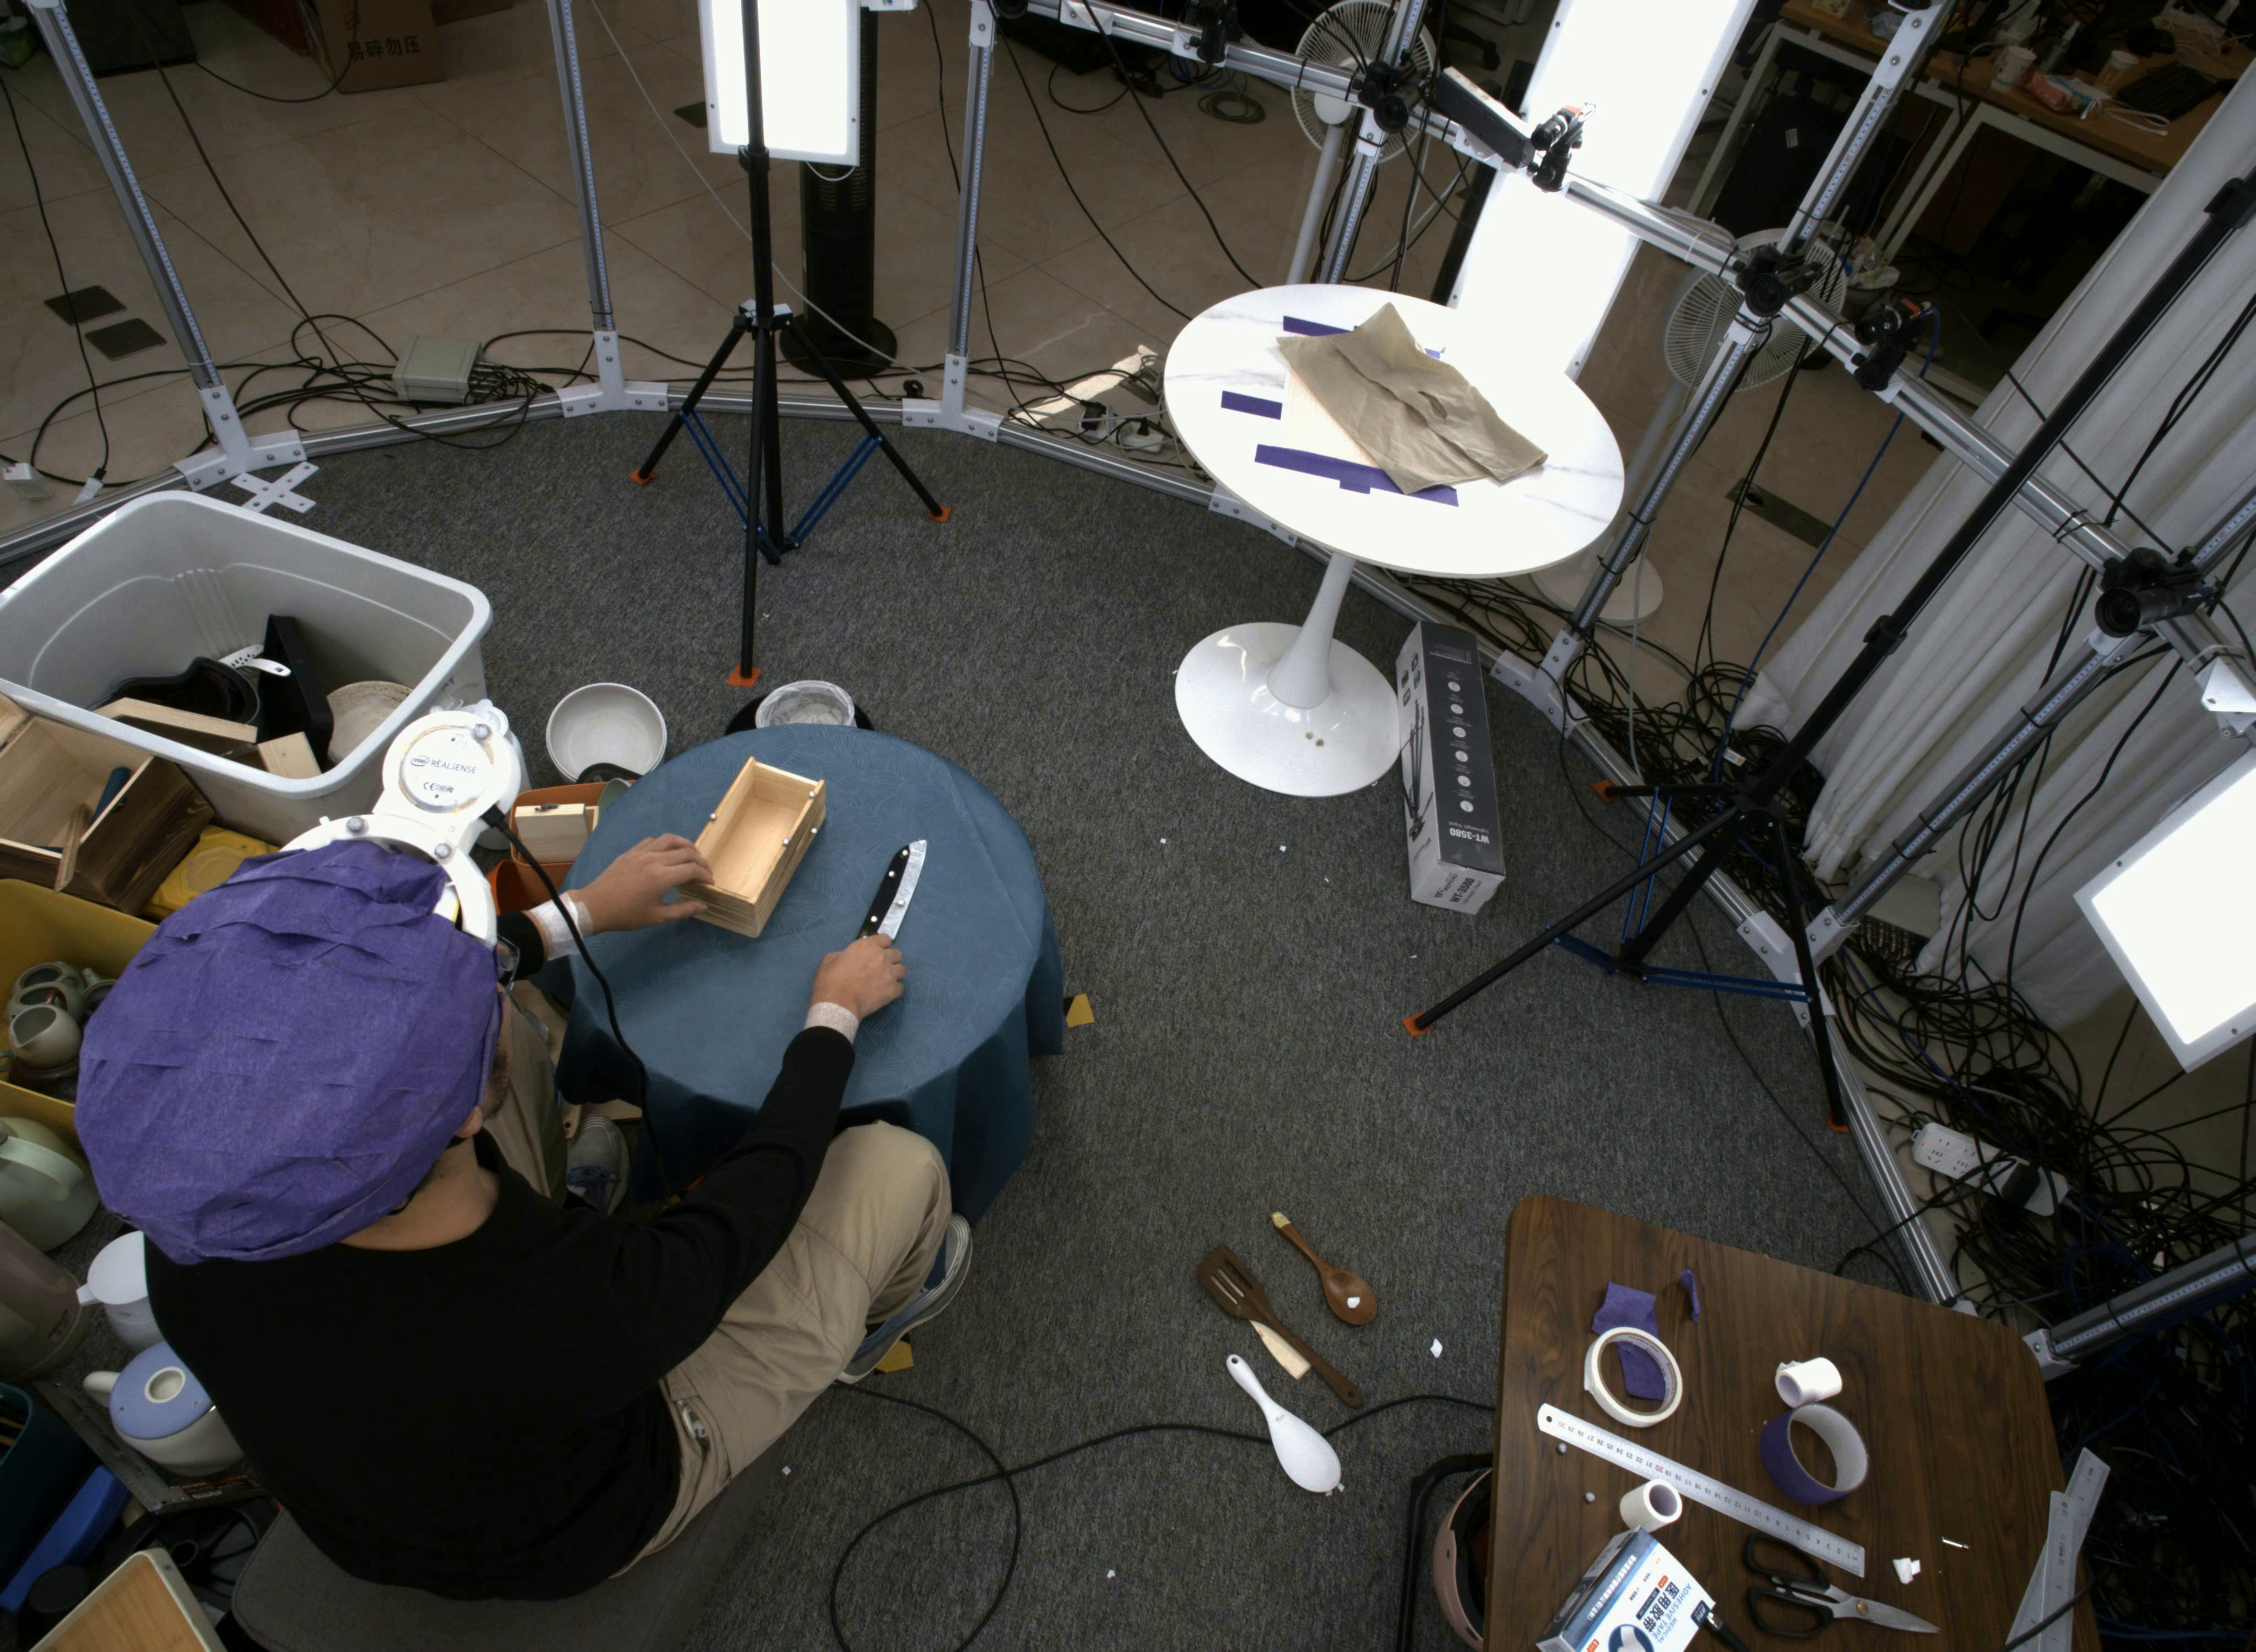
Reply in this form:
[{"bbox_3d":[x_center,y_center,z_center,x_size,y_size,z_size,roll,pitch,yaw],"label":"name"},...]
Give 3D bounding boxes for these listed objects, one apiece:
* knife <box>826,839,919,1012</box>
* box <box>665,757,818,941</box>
[{"bbox_3d":[-0.320,0.117,1.649,0.050,0.020,0.285,24,49,-5],"label":"knife"},{"bbox_3d":[-0.484,0.025,1.633,0.106,0.082,0.209,18,51,1],"label":"box"}]
